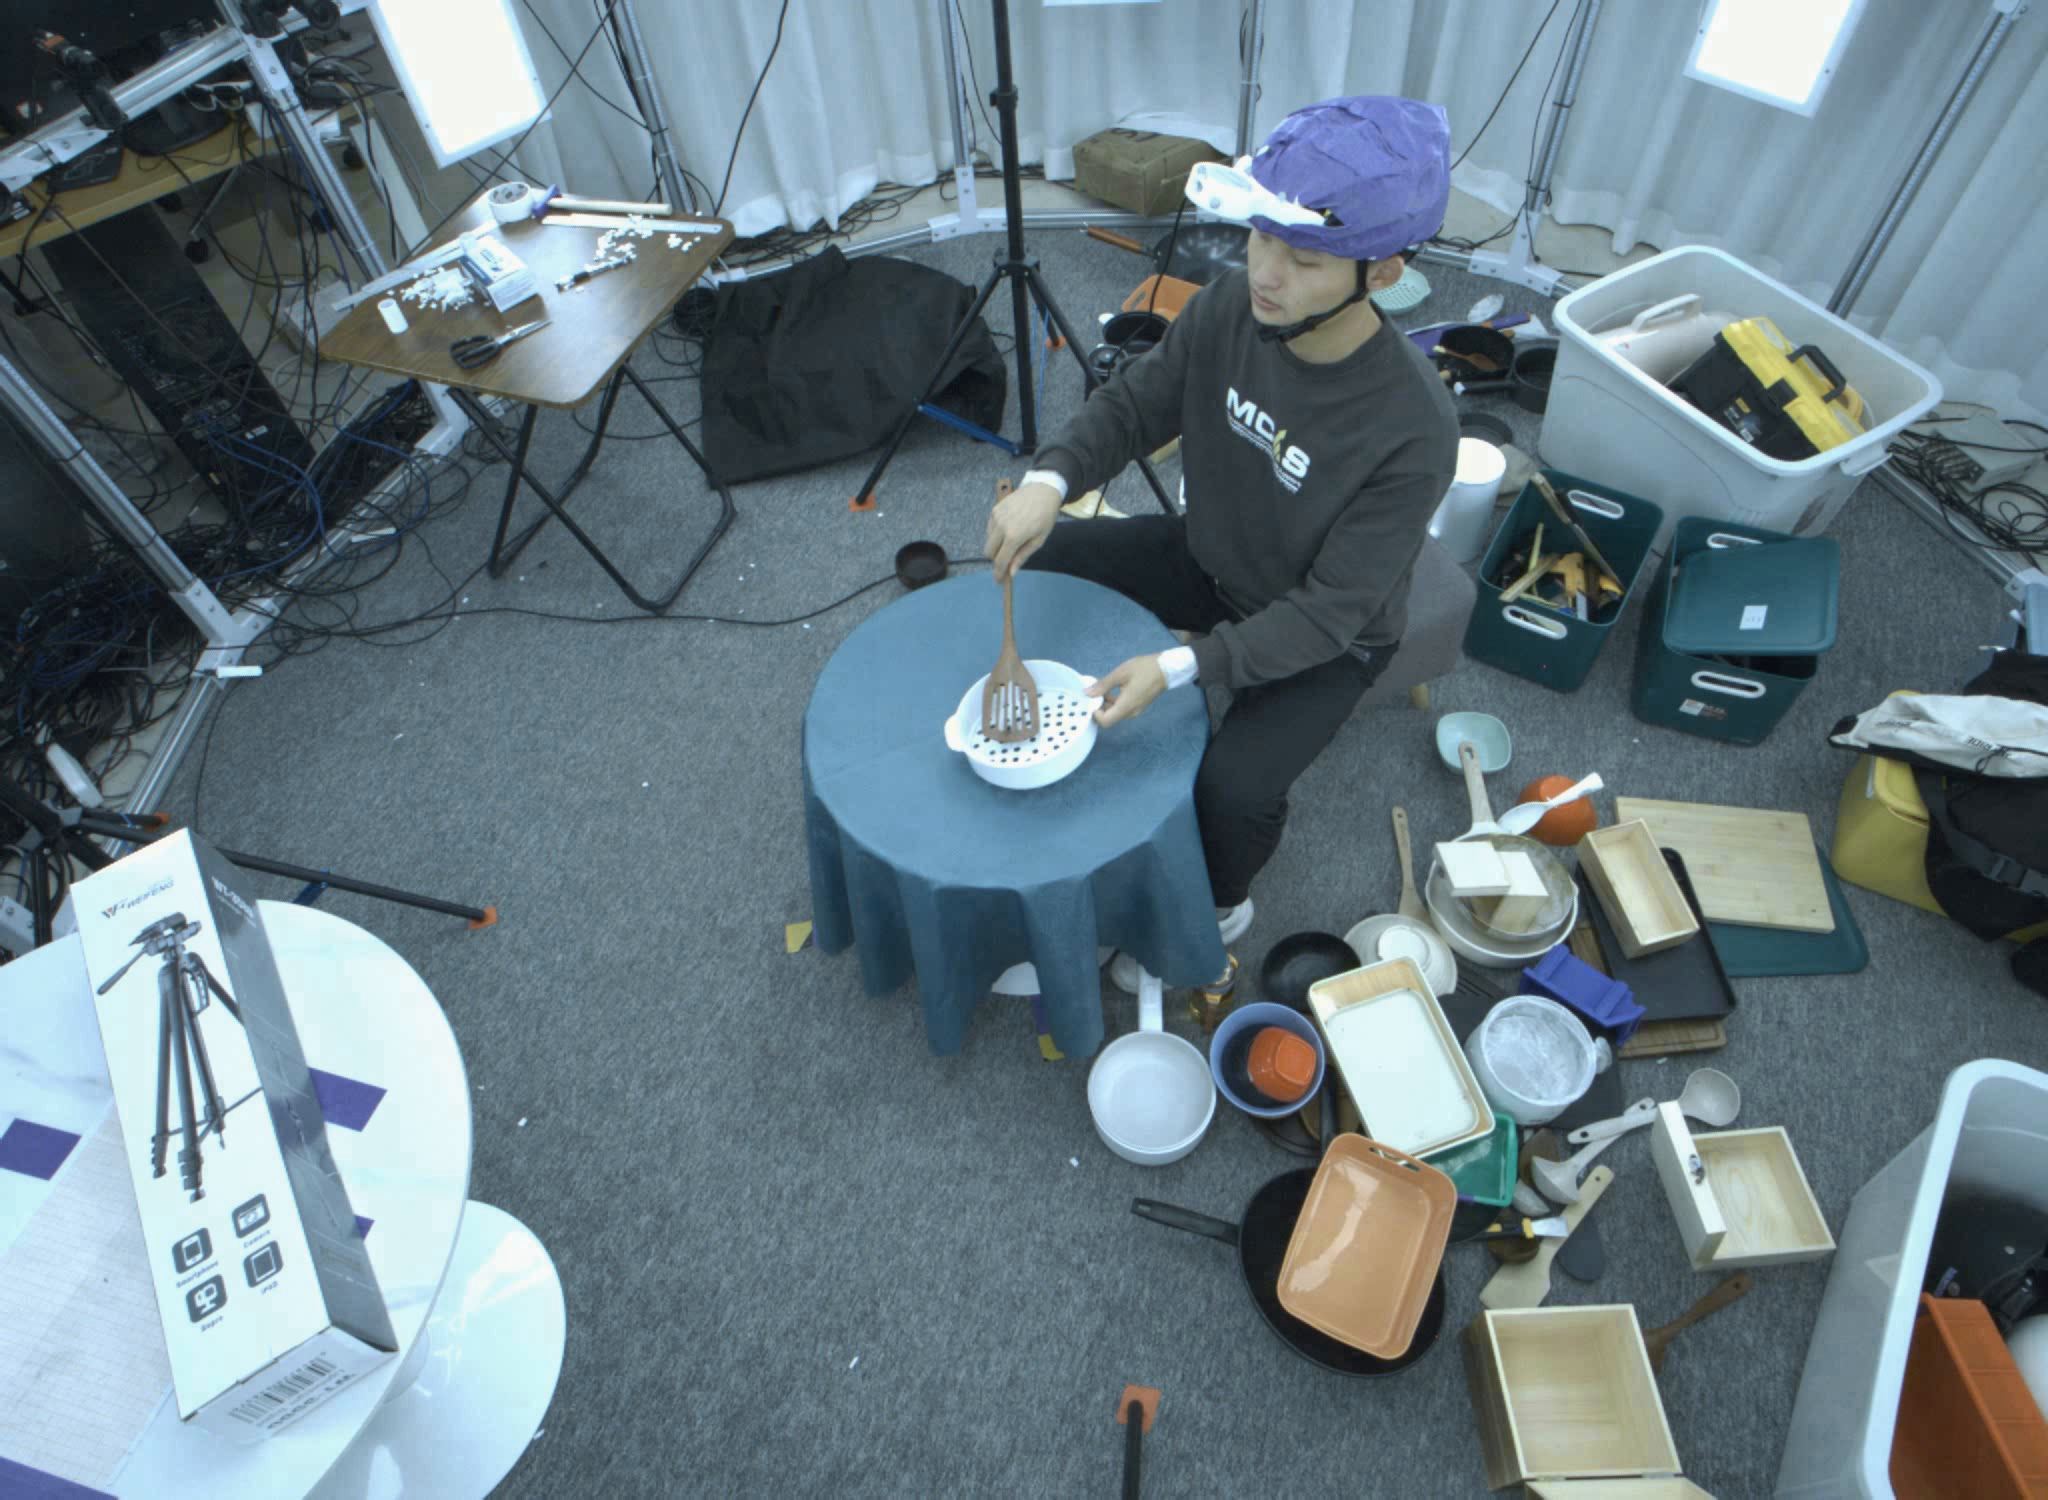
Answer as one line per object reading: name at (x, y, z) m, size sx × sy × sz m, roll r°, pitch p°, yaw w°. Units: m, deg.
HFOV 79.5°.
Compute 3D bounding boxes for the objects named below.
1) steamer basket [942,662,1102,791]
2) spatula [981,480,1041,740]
steamer basket at (0.001, -0.032, 1.765) m, size 0.231 × 0.070 × 0.198 m, roll -14°, pitch 50°, yaw -1°
spatula at (-0.024, -0.205, 1.775) m, size 0.086 × 0.024 × 0.384 m, roll -2°, pitch 86°, yaw 2°
